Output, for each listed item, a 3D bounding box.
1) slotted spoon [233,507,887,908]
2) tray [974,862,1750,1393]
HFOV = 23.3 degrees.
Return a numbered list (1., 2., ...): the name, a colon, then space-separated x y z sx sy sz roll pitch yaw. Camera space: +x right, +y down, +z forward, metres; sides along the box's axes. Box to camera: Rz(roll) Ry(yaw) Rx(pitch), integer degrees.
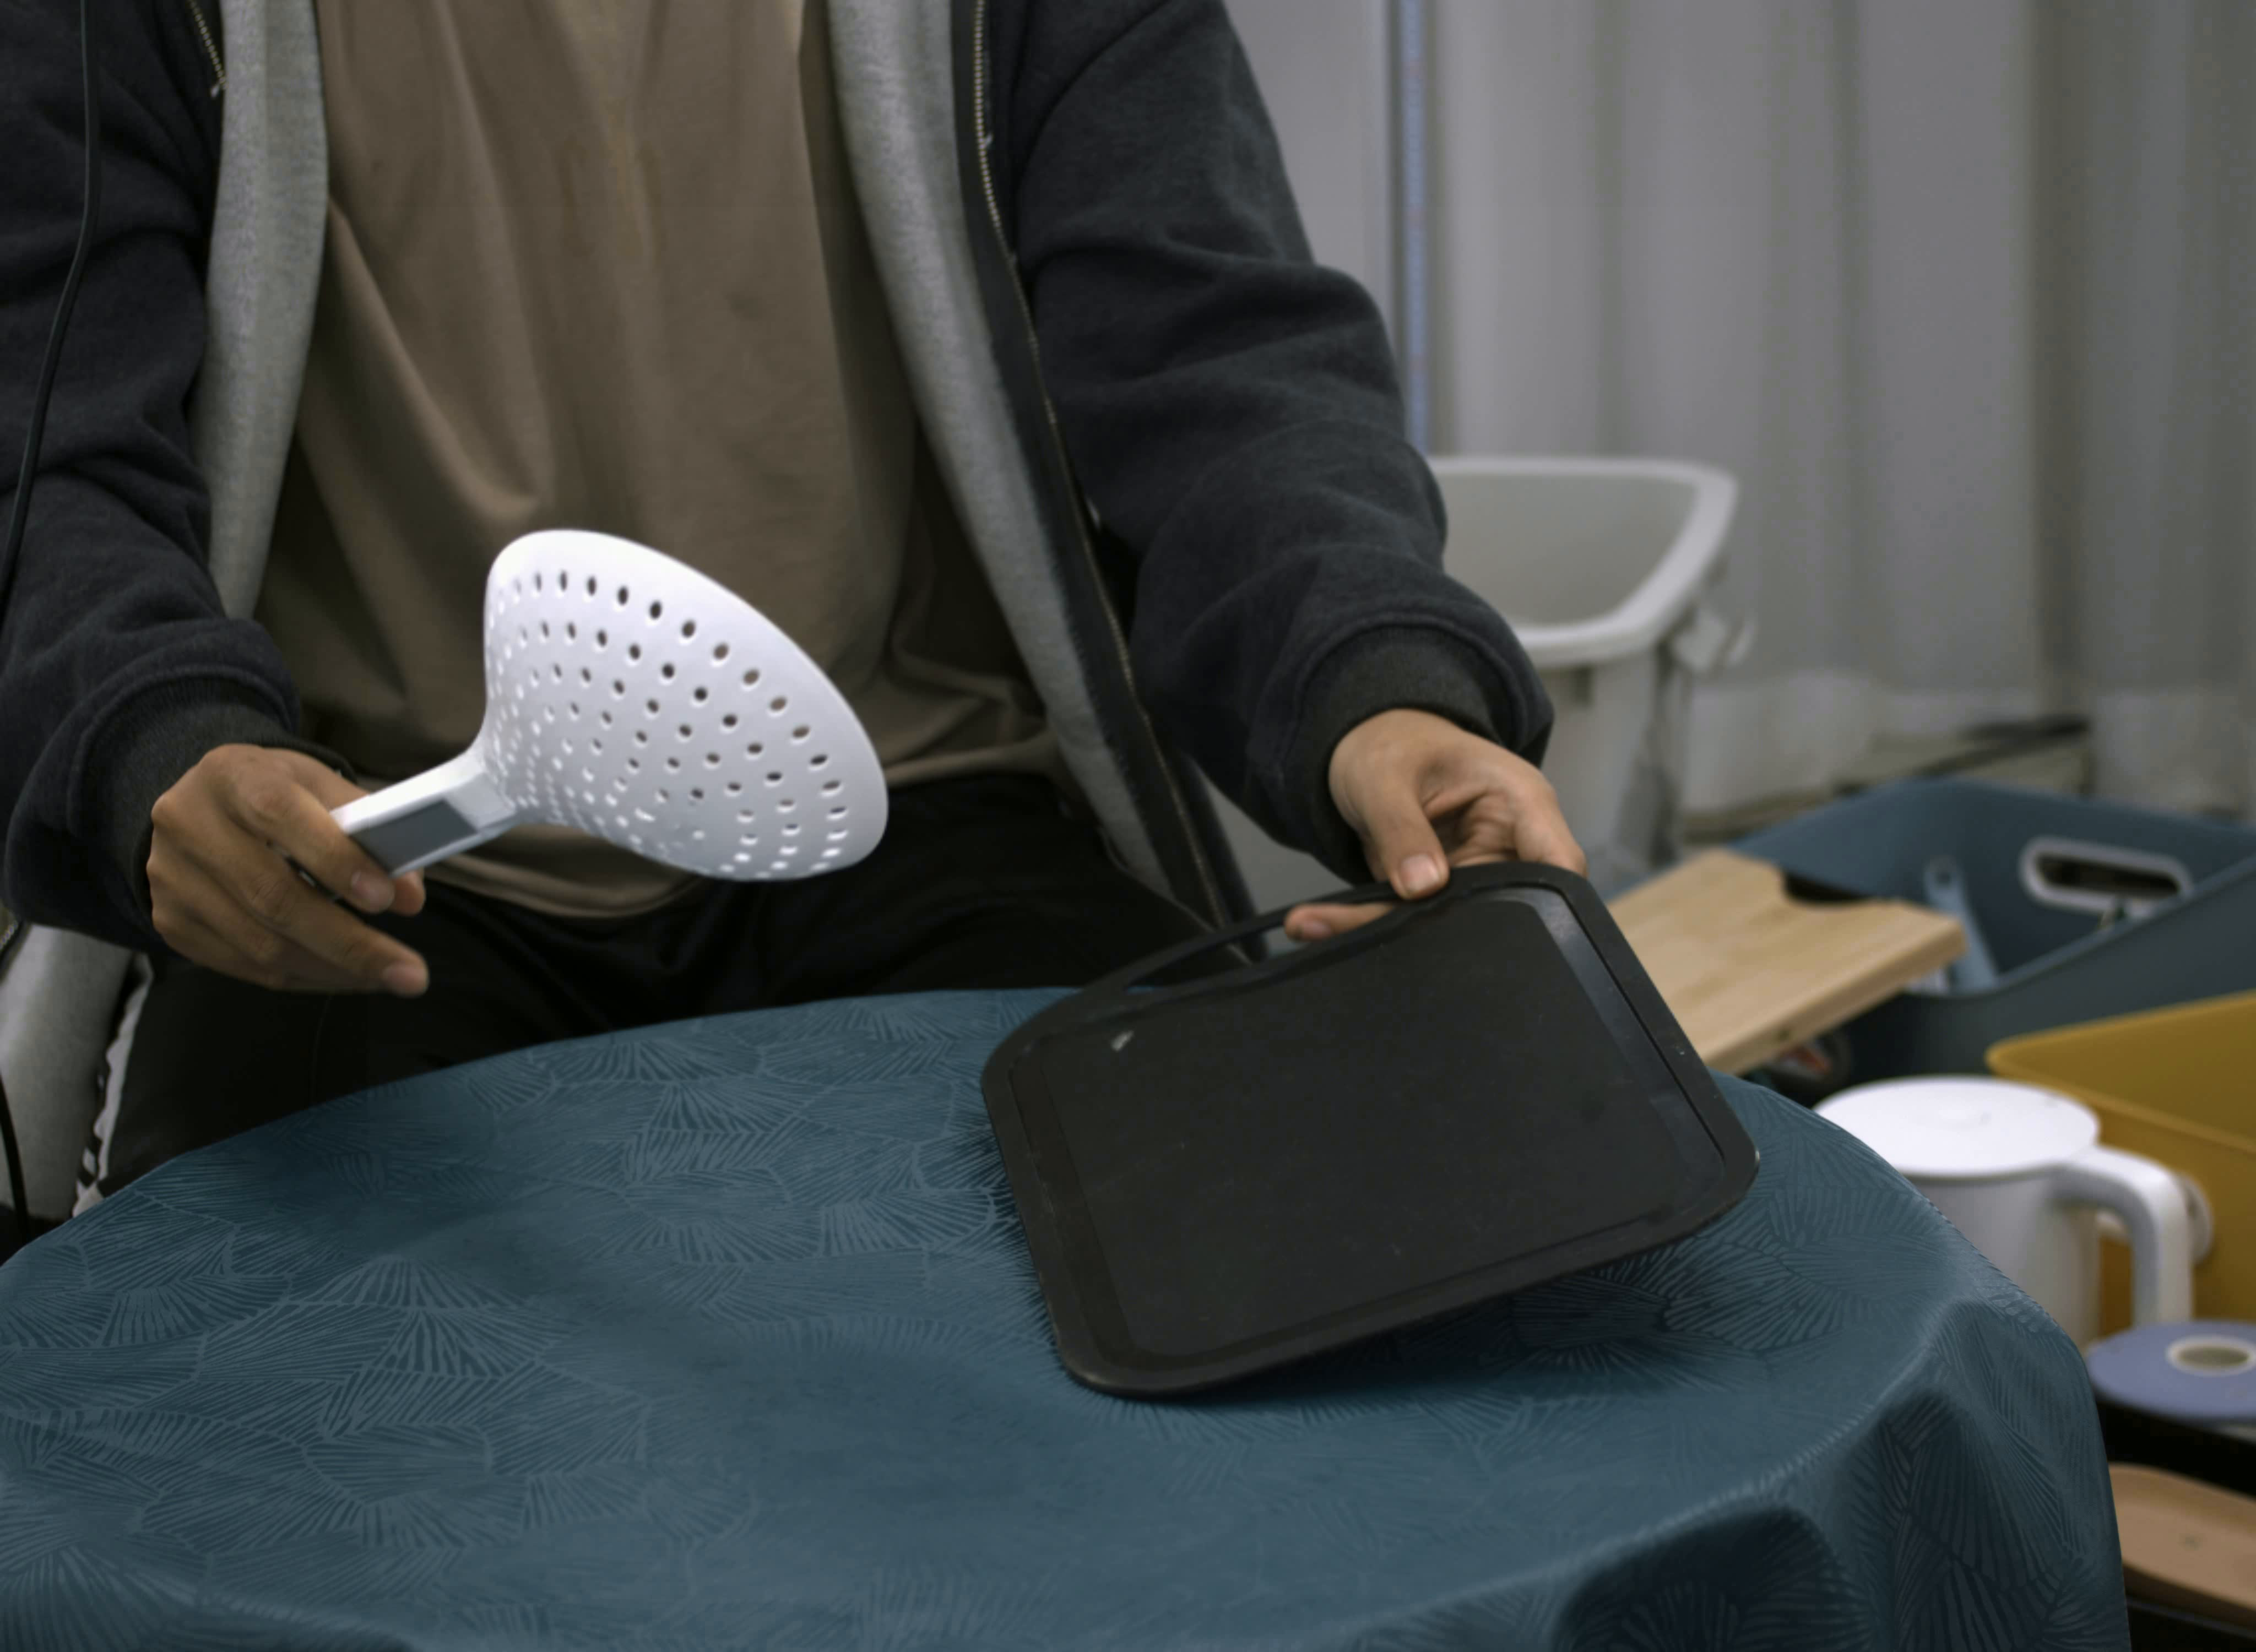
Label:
1. slotted spoon: -0.189 -0.016 1.661 0.046 0.135 0.350 -50 18 -26
2. tray: 0.062 0.083 1.681 0.210 0.010 0.328 -17 21 -2
